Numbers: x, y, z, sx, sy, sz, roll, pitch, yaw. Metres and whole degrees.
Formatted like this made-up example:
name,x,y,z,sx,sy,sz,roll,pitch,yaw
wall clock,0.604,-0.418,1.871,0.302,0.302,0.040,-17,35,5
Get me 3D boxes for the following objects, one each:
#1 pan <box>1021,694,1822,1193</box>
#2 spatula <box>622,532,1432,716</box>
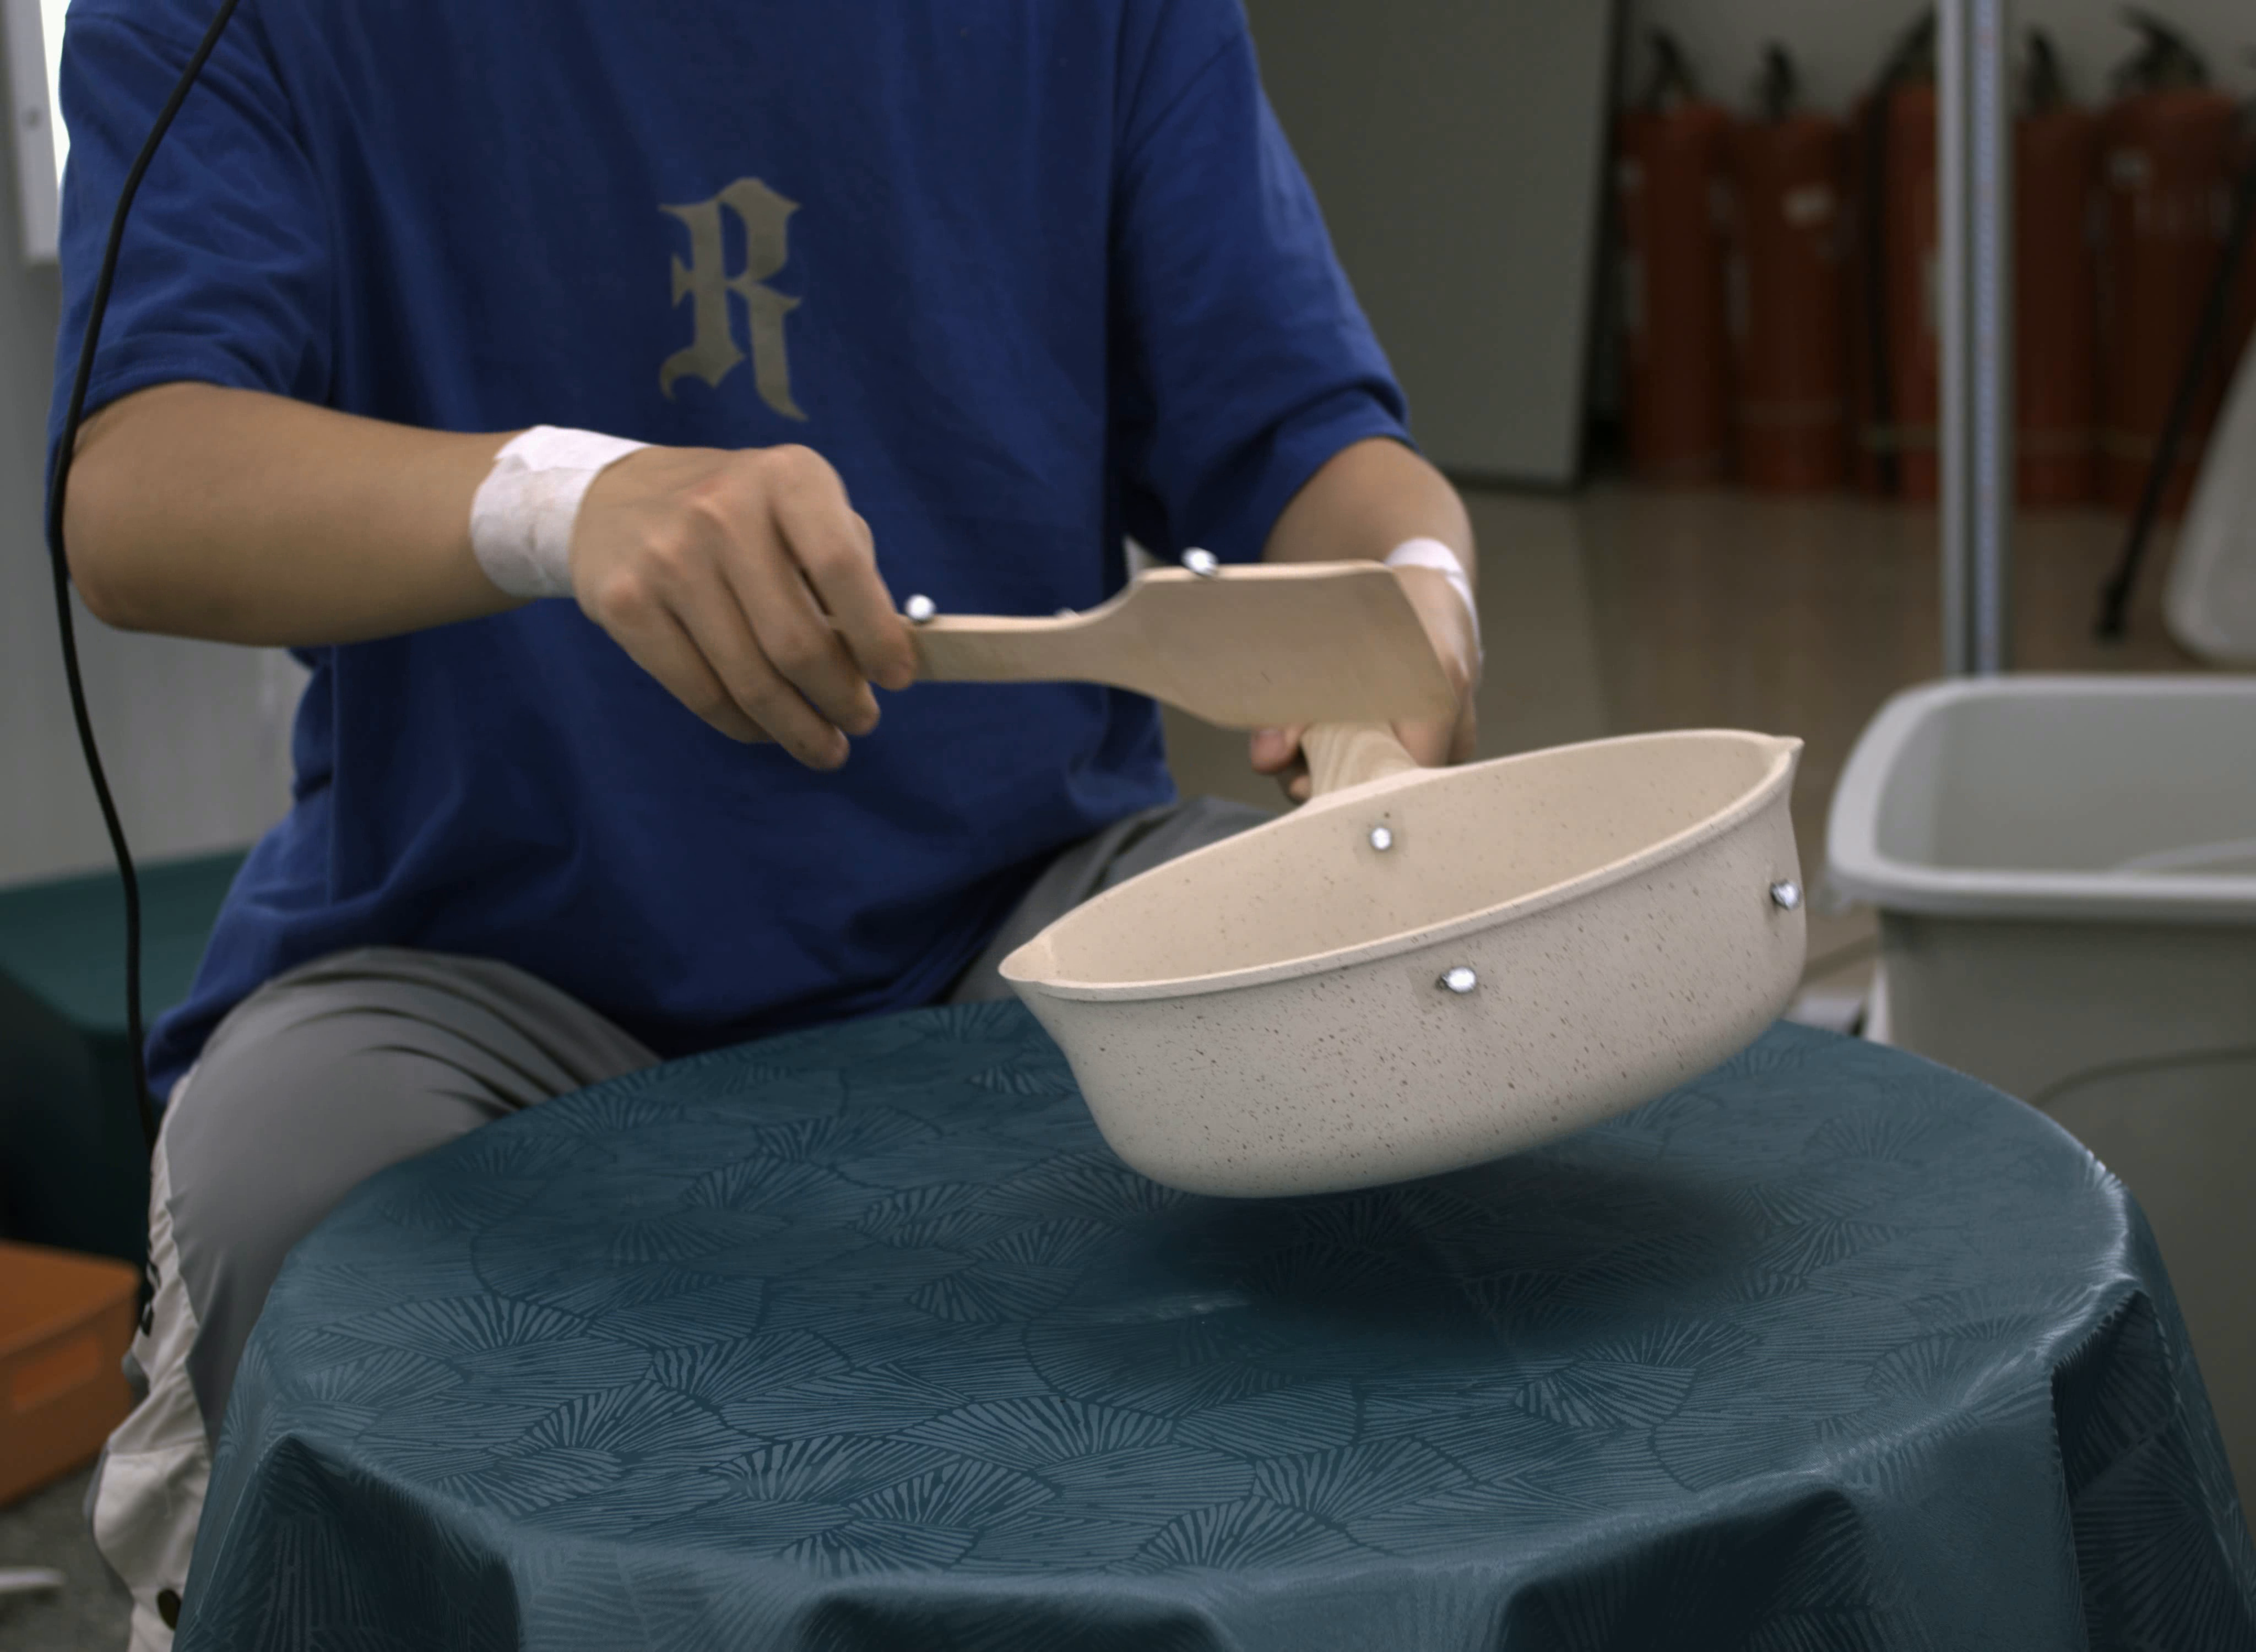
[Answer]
name,x,y,z,sx,sy,sz,roll,pitch,yaw
pan,0.093,0.023,1.777,0.260,0.103,0.435,-20,8,0
spatula,-0.042,-0.060,1.697,0.294,0.072,0.010,-1,46,34
